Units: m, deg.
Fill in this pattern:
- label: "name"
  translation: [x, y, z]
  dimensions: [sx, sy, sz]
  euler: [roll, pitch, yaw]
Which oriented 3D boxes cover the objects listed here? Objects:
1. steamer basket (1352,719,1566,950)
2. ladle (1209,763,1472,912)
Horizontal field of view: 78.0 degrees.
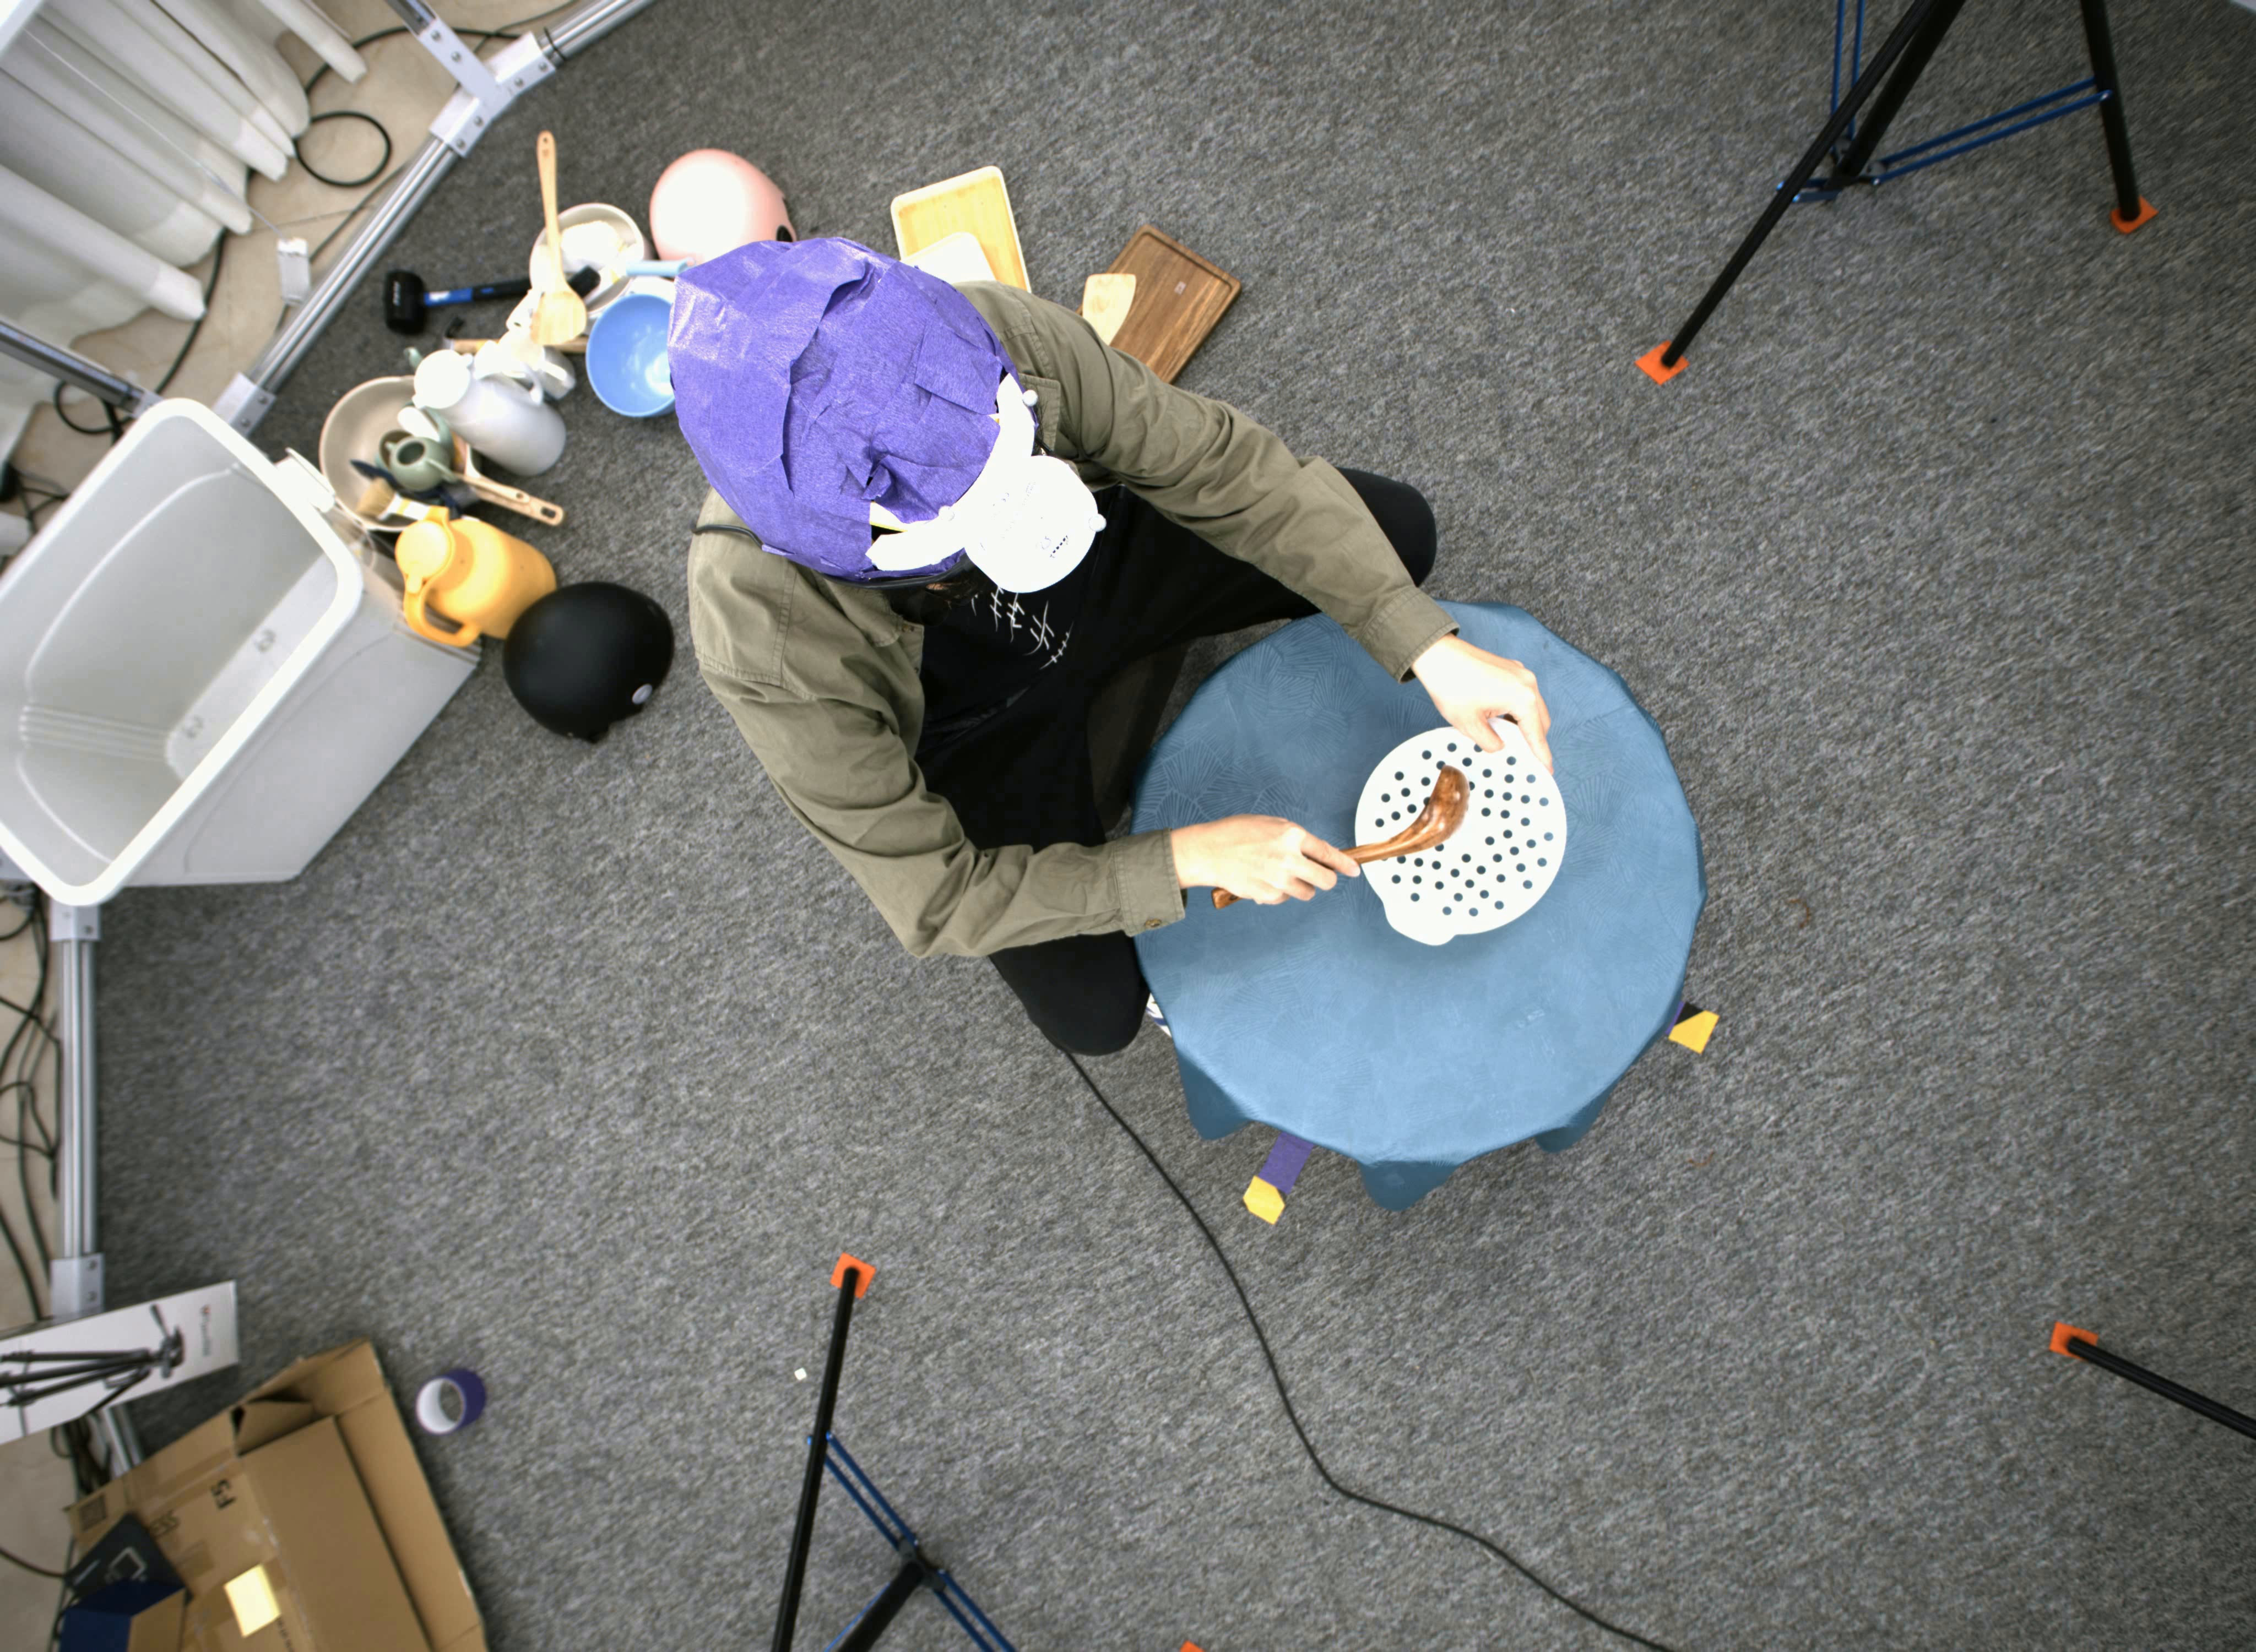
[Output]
- label: "steamer basket"
  translation: [0.325, 0.007, 1.351]
  dimensions: [0.201, 0.069, 0.232]
  euler: [24, 100, 14]
- label: "ladle"
  translation: [0.202, 0.008, 1.320]
  dimensions: [0.274, 0.083, 0.075]
  euler: [-16, 53, 1]
